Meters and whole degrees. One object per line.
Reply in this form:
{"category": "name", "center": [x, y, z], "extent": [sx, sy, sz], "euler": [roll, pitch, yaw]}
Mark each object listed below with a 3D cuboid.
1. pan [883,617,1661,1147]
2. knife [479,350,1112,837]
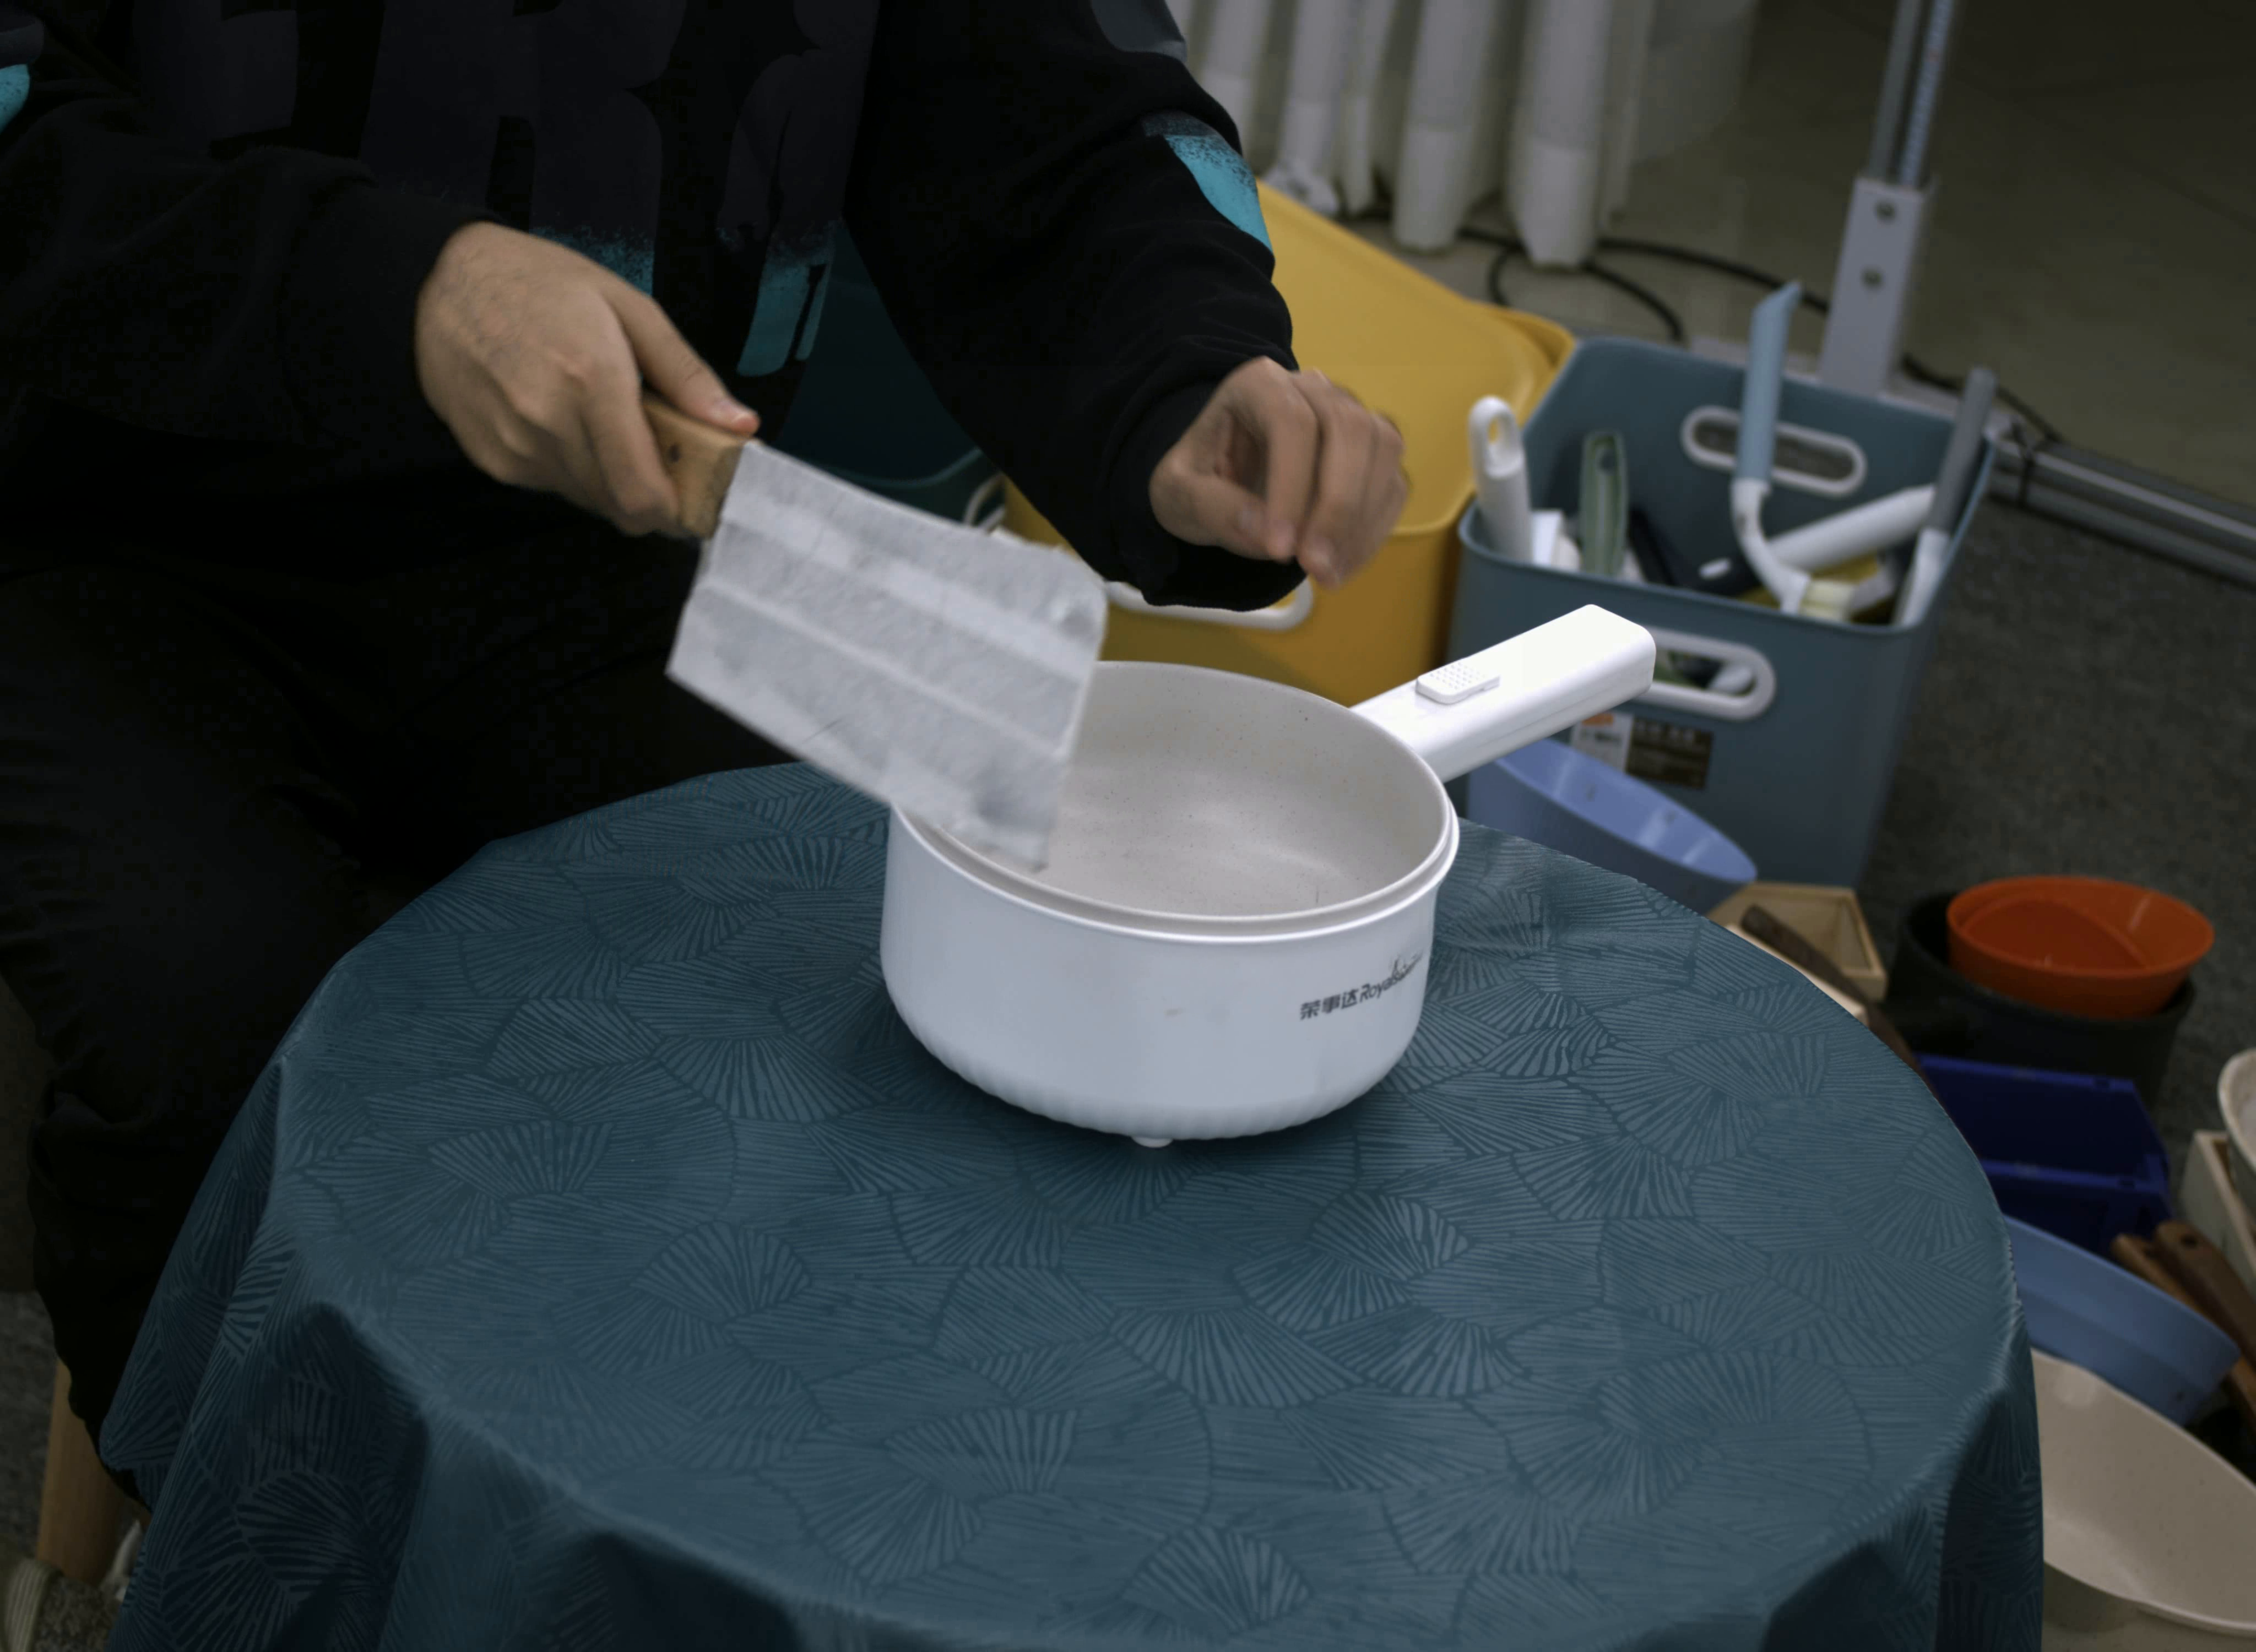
{"category": "pan", "center": [0.064, 0.011, 1.930], "extent": [0.202, 0.102, 0.353], "euler": [26, 32, 36]}
{"category": "knife", "center": [-0.115, -0.094, 1.784], "extent": [0.318, 0.114, 0.021], "euler": [31, 19, 38]}
